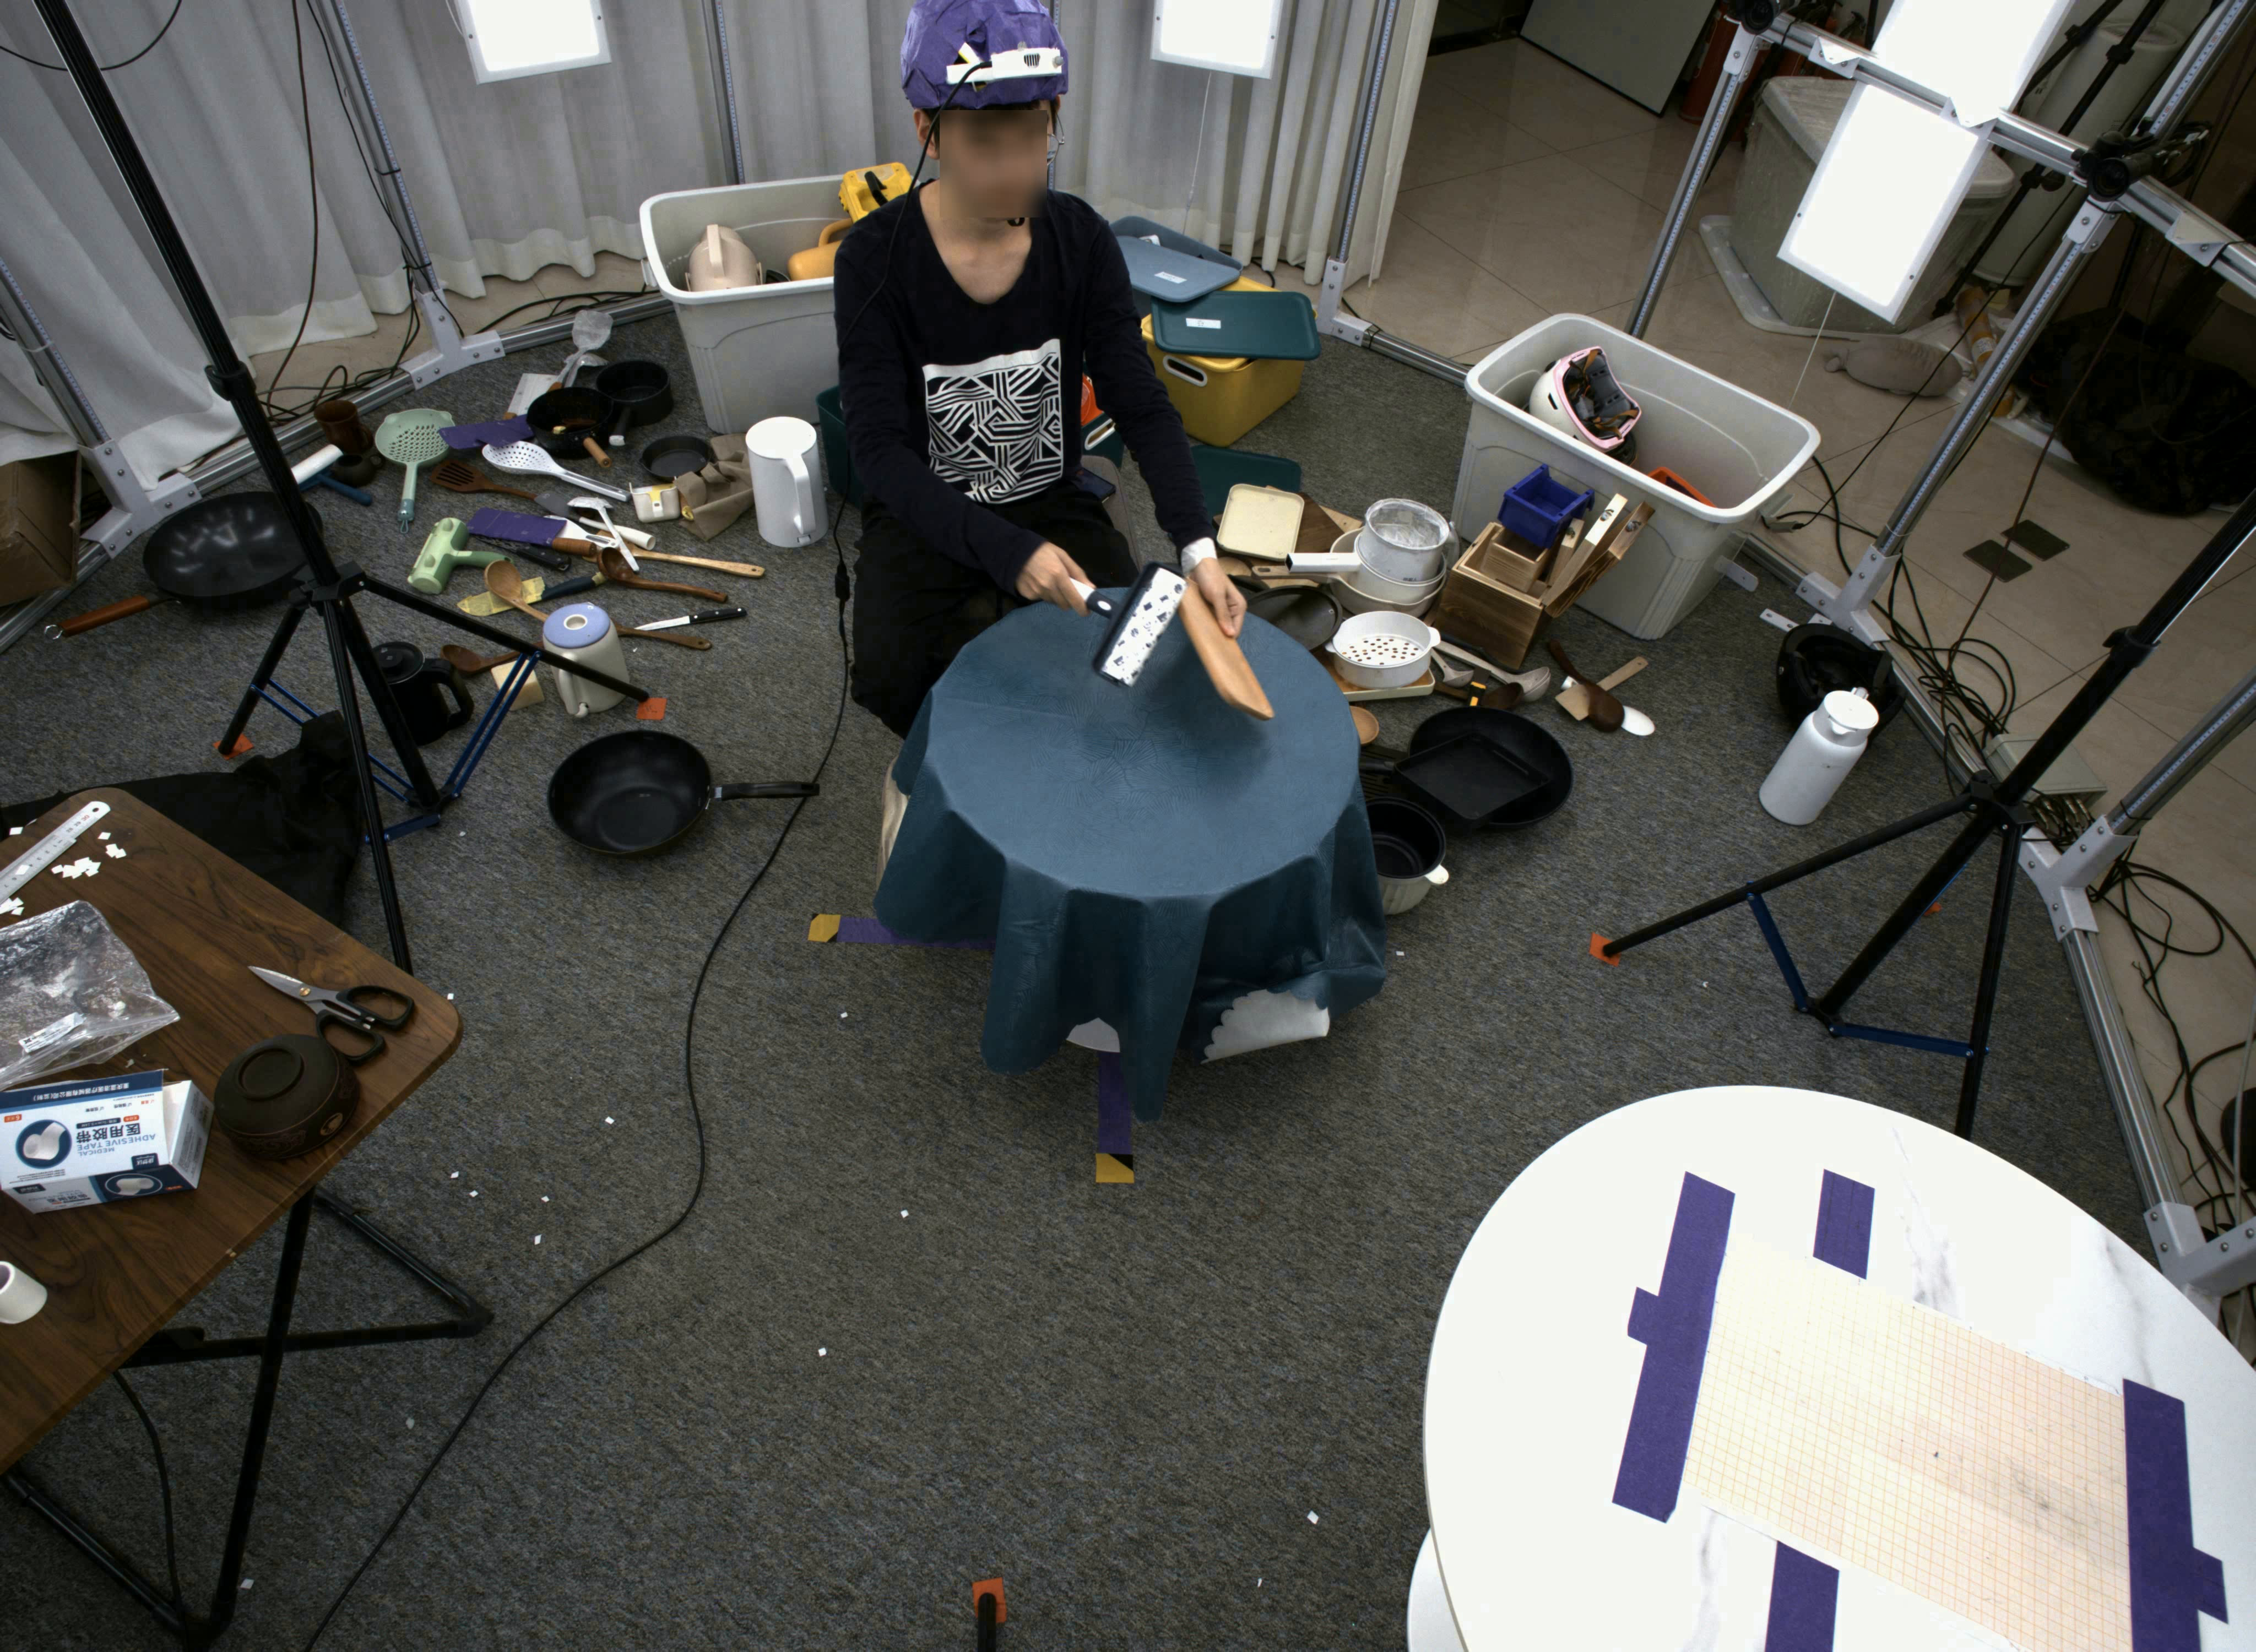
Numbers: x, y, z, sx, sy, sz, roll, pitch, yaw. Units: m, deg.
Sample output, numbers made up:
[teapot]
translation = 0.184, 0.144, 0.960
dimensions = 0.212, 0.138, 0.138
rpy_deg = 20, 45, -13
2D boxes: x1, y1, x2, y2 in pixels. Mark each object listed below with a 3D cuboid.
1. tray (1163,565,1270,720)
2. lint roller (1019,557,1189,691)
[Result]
[tray]
translation = 0.117, -0.254, 1.776
dimensions = 0.023, 0.128, 0.256
rpy_deg = -37, 56, 22
[lint roller]
translation = -0.056, -0.314, 1.773
dimensions = 0.250, 0.050, 0.176
rpy_deg = 30, 92, 23
